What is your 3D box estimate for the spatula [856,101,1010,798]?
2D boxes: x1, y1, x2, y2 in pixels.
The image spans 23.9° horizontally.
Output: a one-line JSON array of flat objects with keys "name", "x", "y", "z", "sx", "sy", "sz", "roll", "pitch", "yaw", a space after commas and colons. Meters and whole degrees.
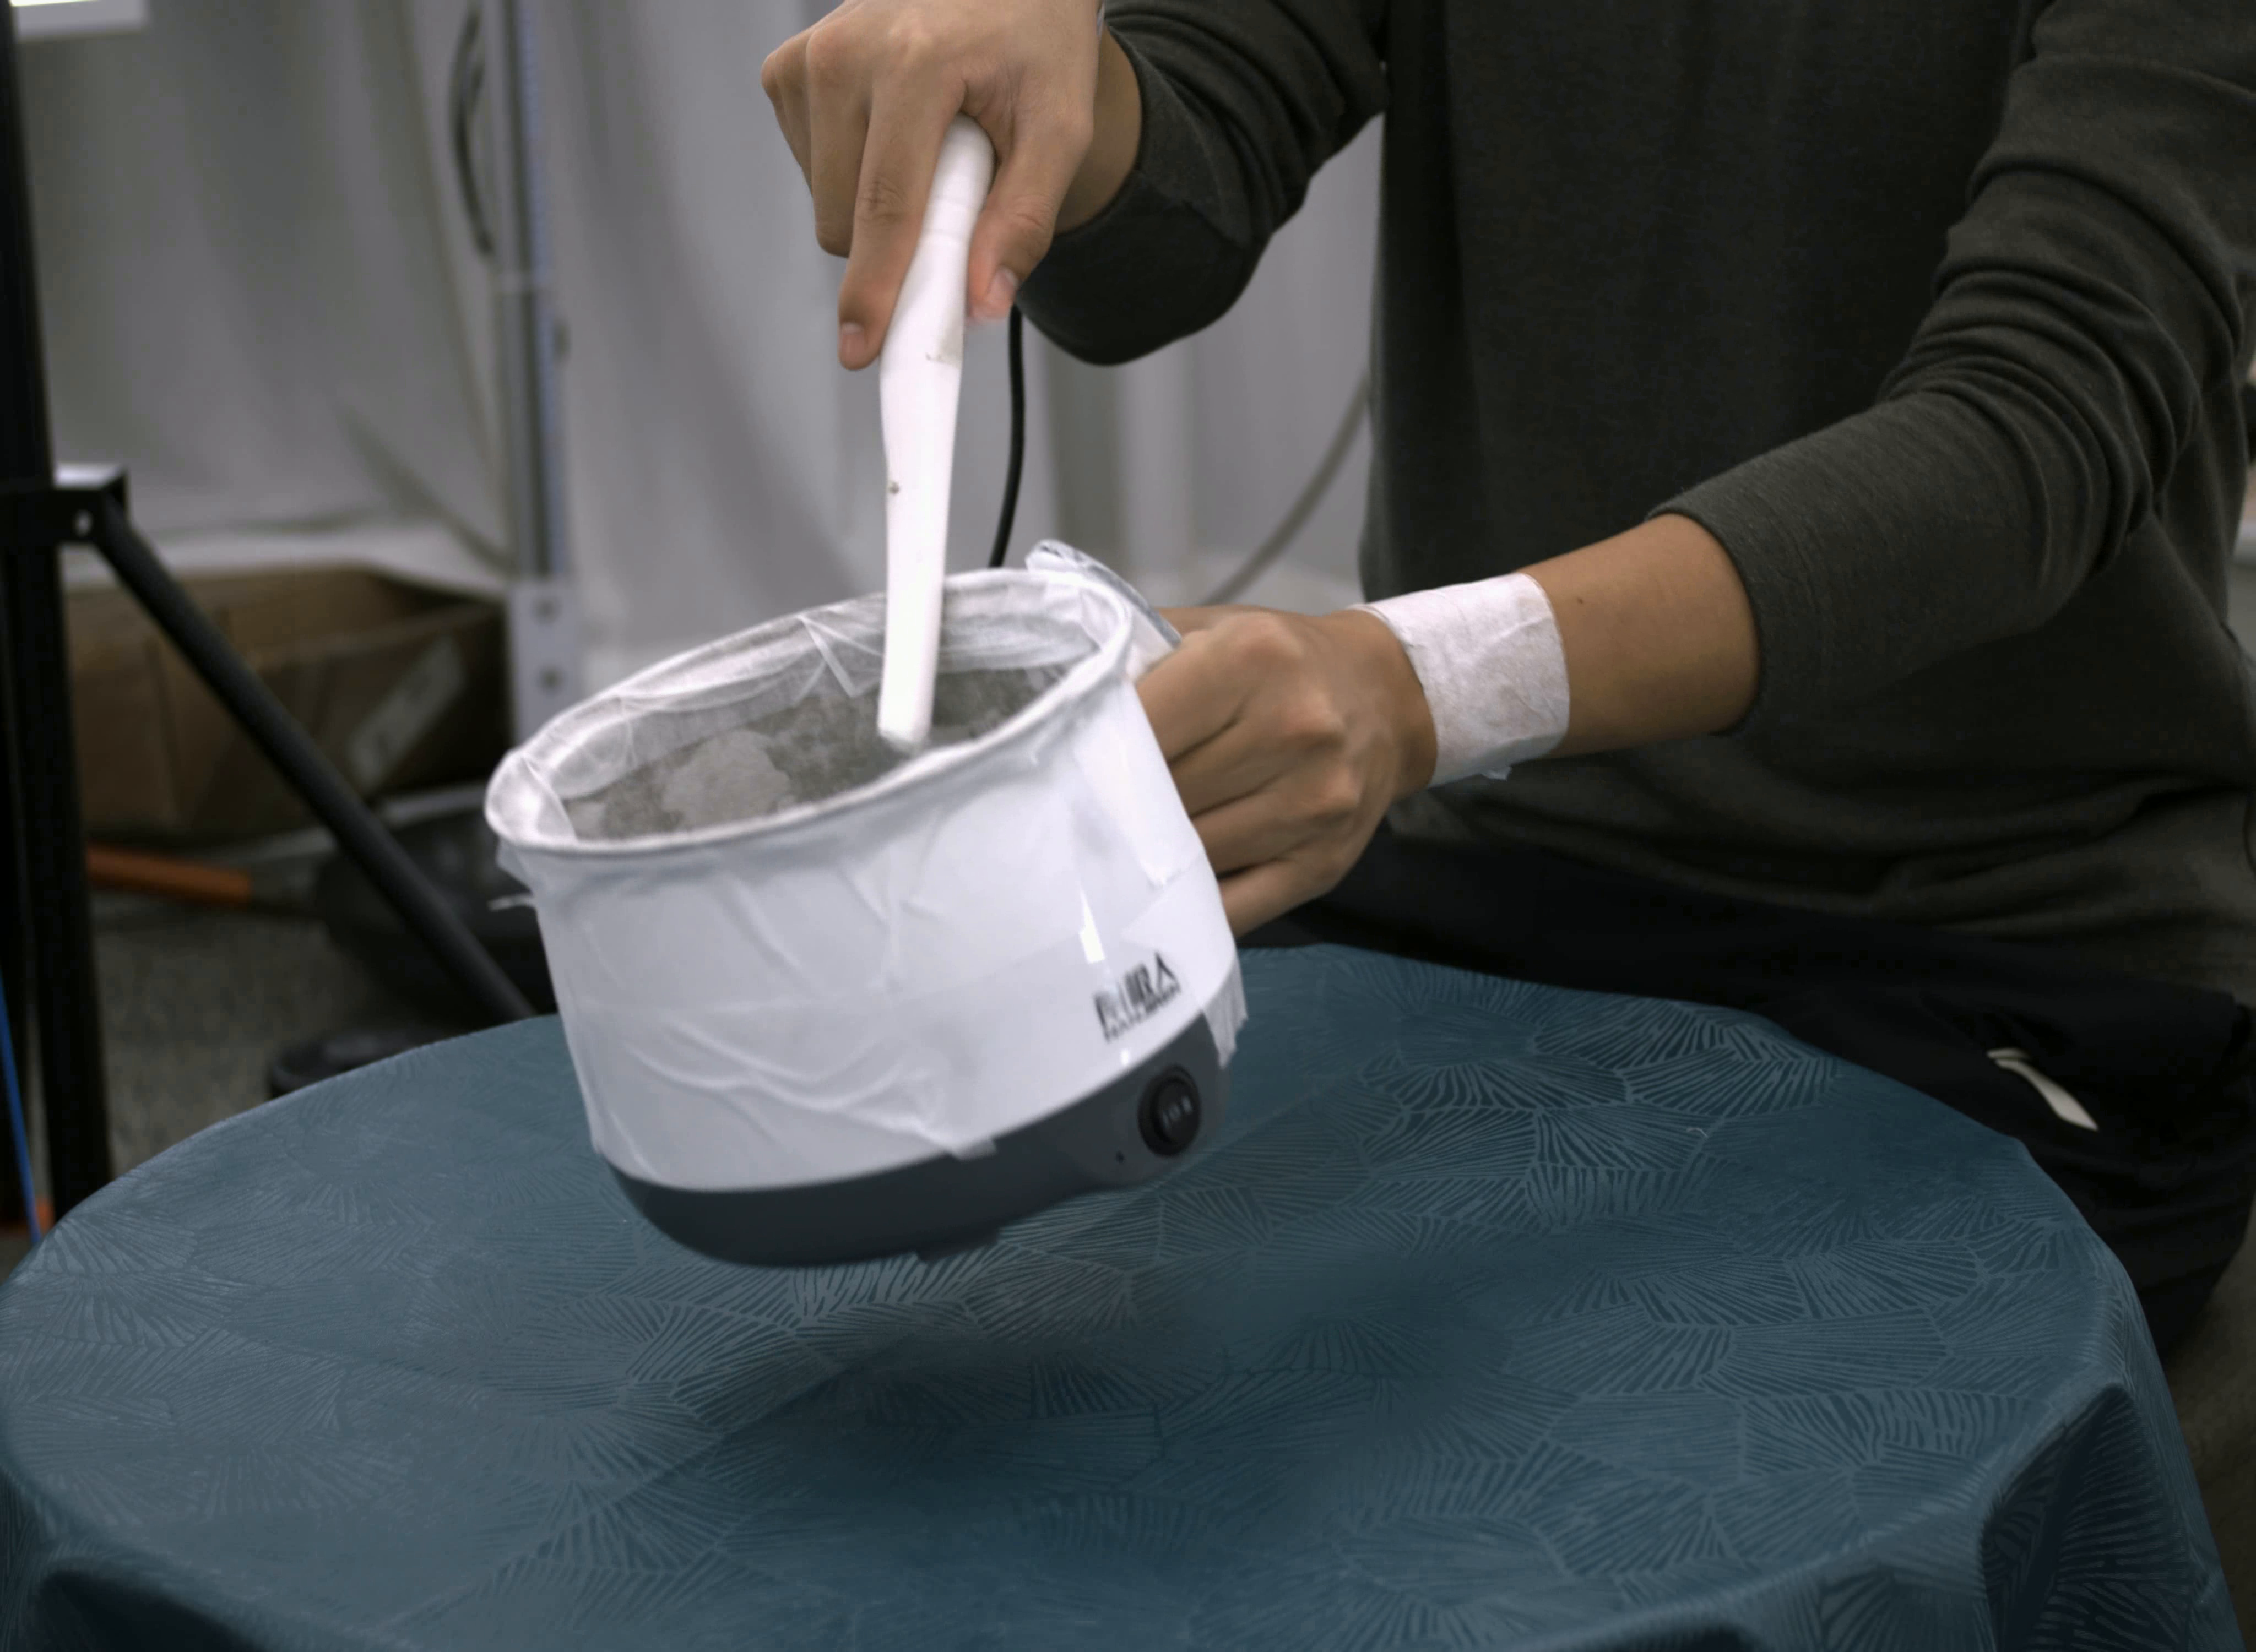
[{"name": "spatula", "x": -0.061, "y": -0.067, "z": 1.443, "sx": 0.059, "sy": 0.290, "sz": 0.031, "roll": -6, "pitch": -29, "yaw": 22}]

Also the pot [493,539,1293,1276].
[{"name": "pot", "x": -0.046, "y": 0.015, "z": 1.416, "sx": 0.182, "sy": 0.136, "sz": 0.230, "roll": 2, "pitch": 26, "yaw": 43}]
